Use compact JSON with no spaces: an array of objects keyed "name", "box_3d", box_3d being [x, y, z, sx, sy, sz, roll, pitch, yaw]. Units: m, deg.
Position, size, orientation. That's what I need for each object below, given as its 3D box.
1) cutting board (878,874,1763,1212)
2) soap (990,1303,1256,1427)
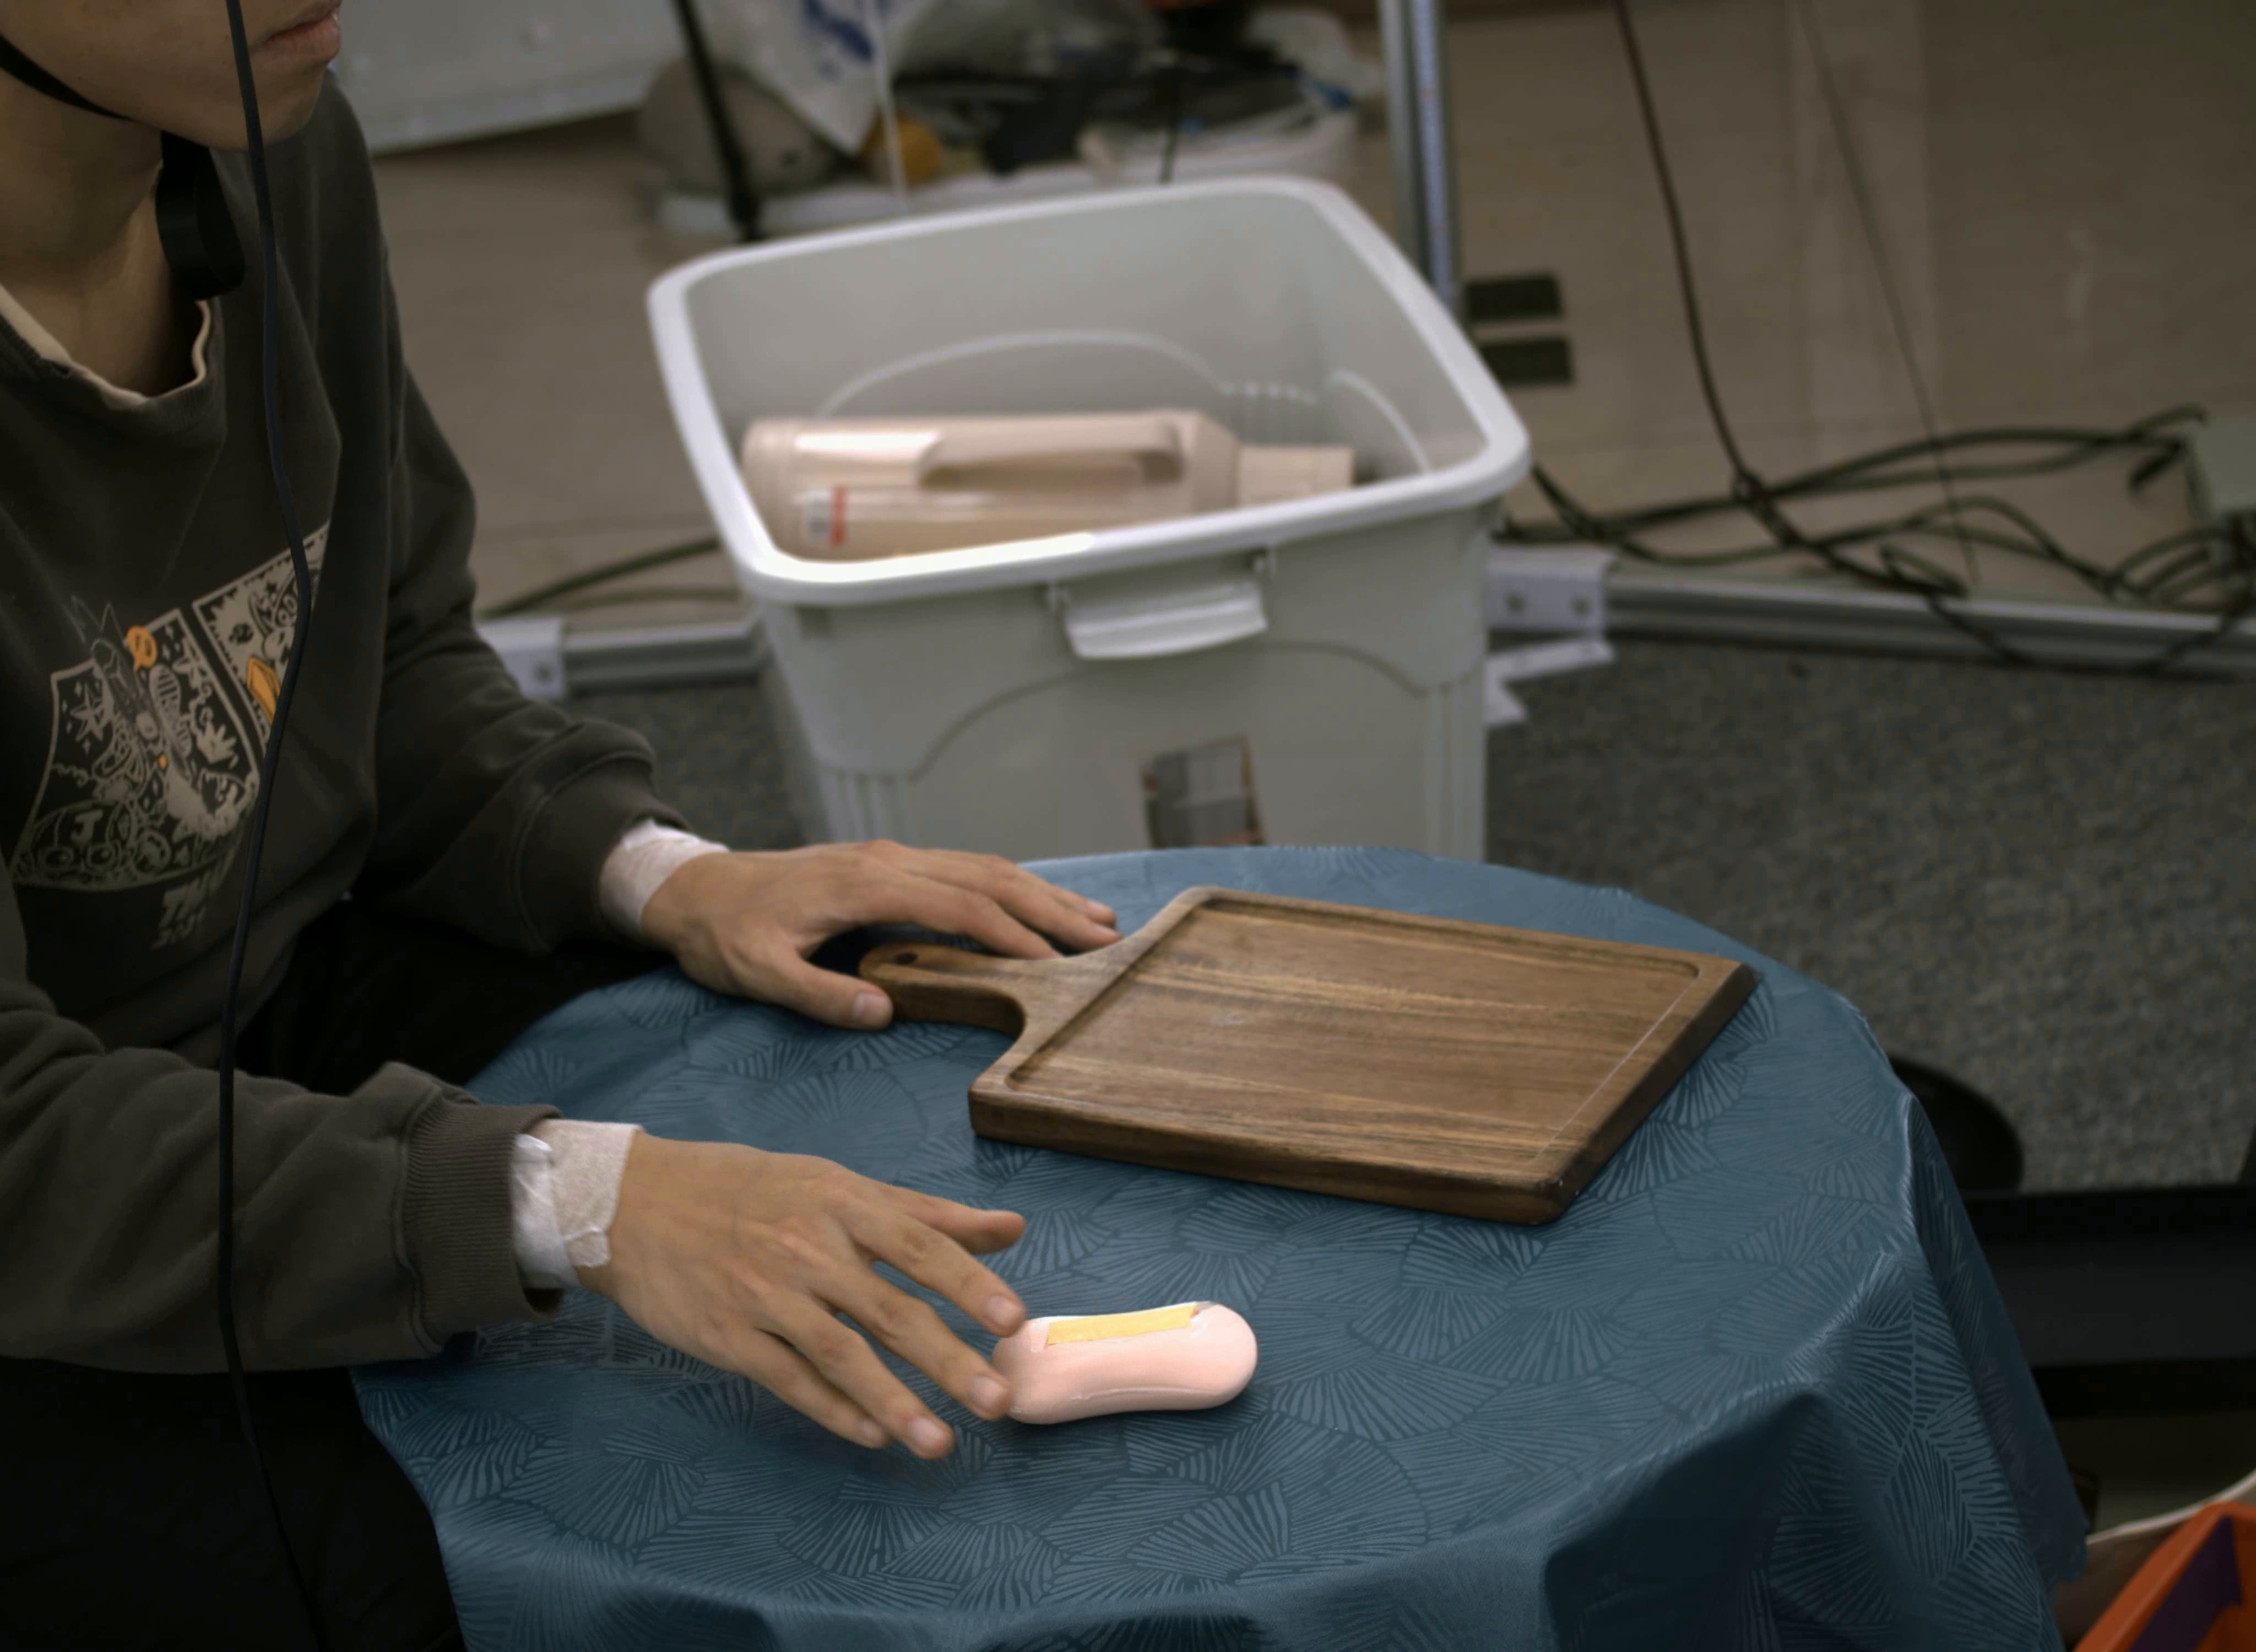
[{"name":"cutting board","box_3d":[0.055,0.075,2.244,0.350,0.023,0.198,8,29,29]},{"name":"soap","box_3d":[-0.002,0.190,2.004,0.094,0.031,0.049,-7,25,3]}]
